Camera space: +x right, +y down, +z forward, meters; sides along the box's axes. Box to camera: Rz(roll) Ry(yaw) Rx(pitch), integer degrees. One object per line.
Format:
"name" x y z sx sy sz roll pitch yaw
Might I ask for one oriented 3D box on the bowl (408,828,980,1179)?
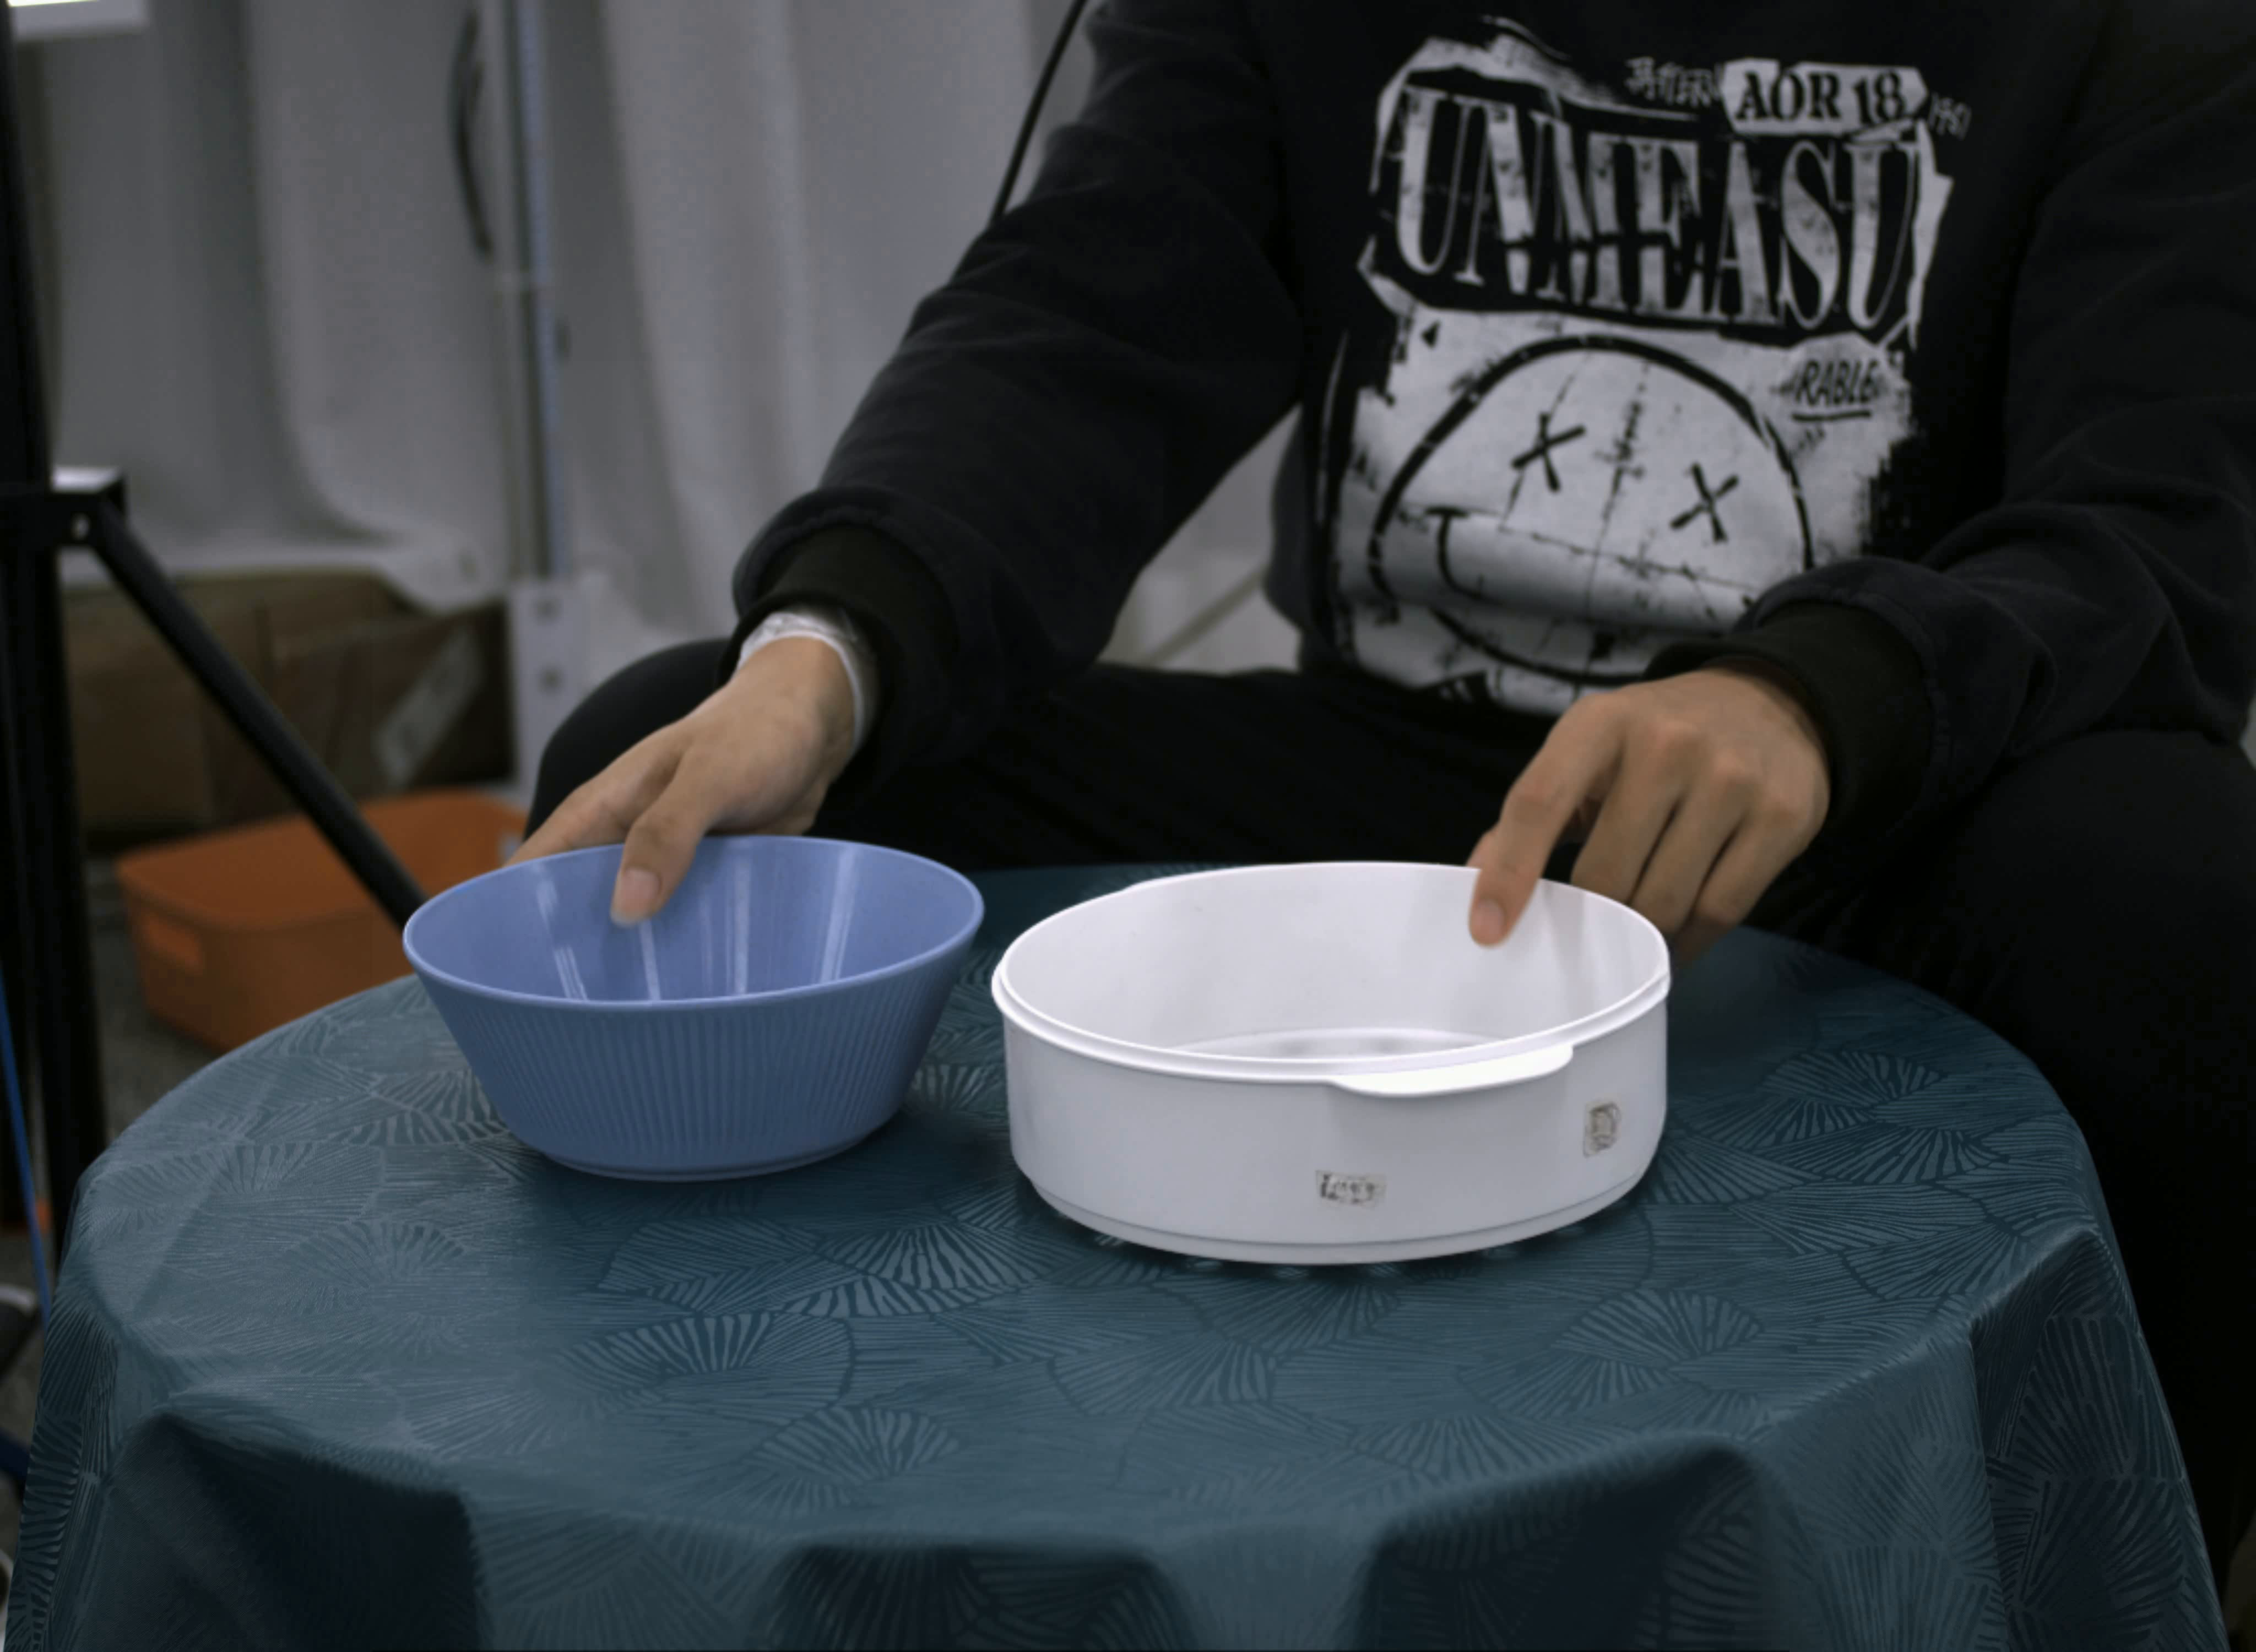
"bowl" -0.130 0.057 1.629 0.175 0.070 0.177 -3 17 0

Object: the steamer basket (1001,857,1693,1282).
"steamer basket" 0.064 0.071 1.553 0.198 0.069 0.234 -8 18 -16
